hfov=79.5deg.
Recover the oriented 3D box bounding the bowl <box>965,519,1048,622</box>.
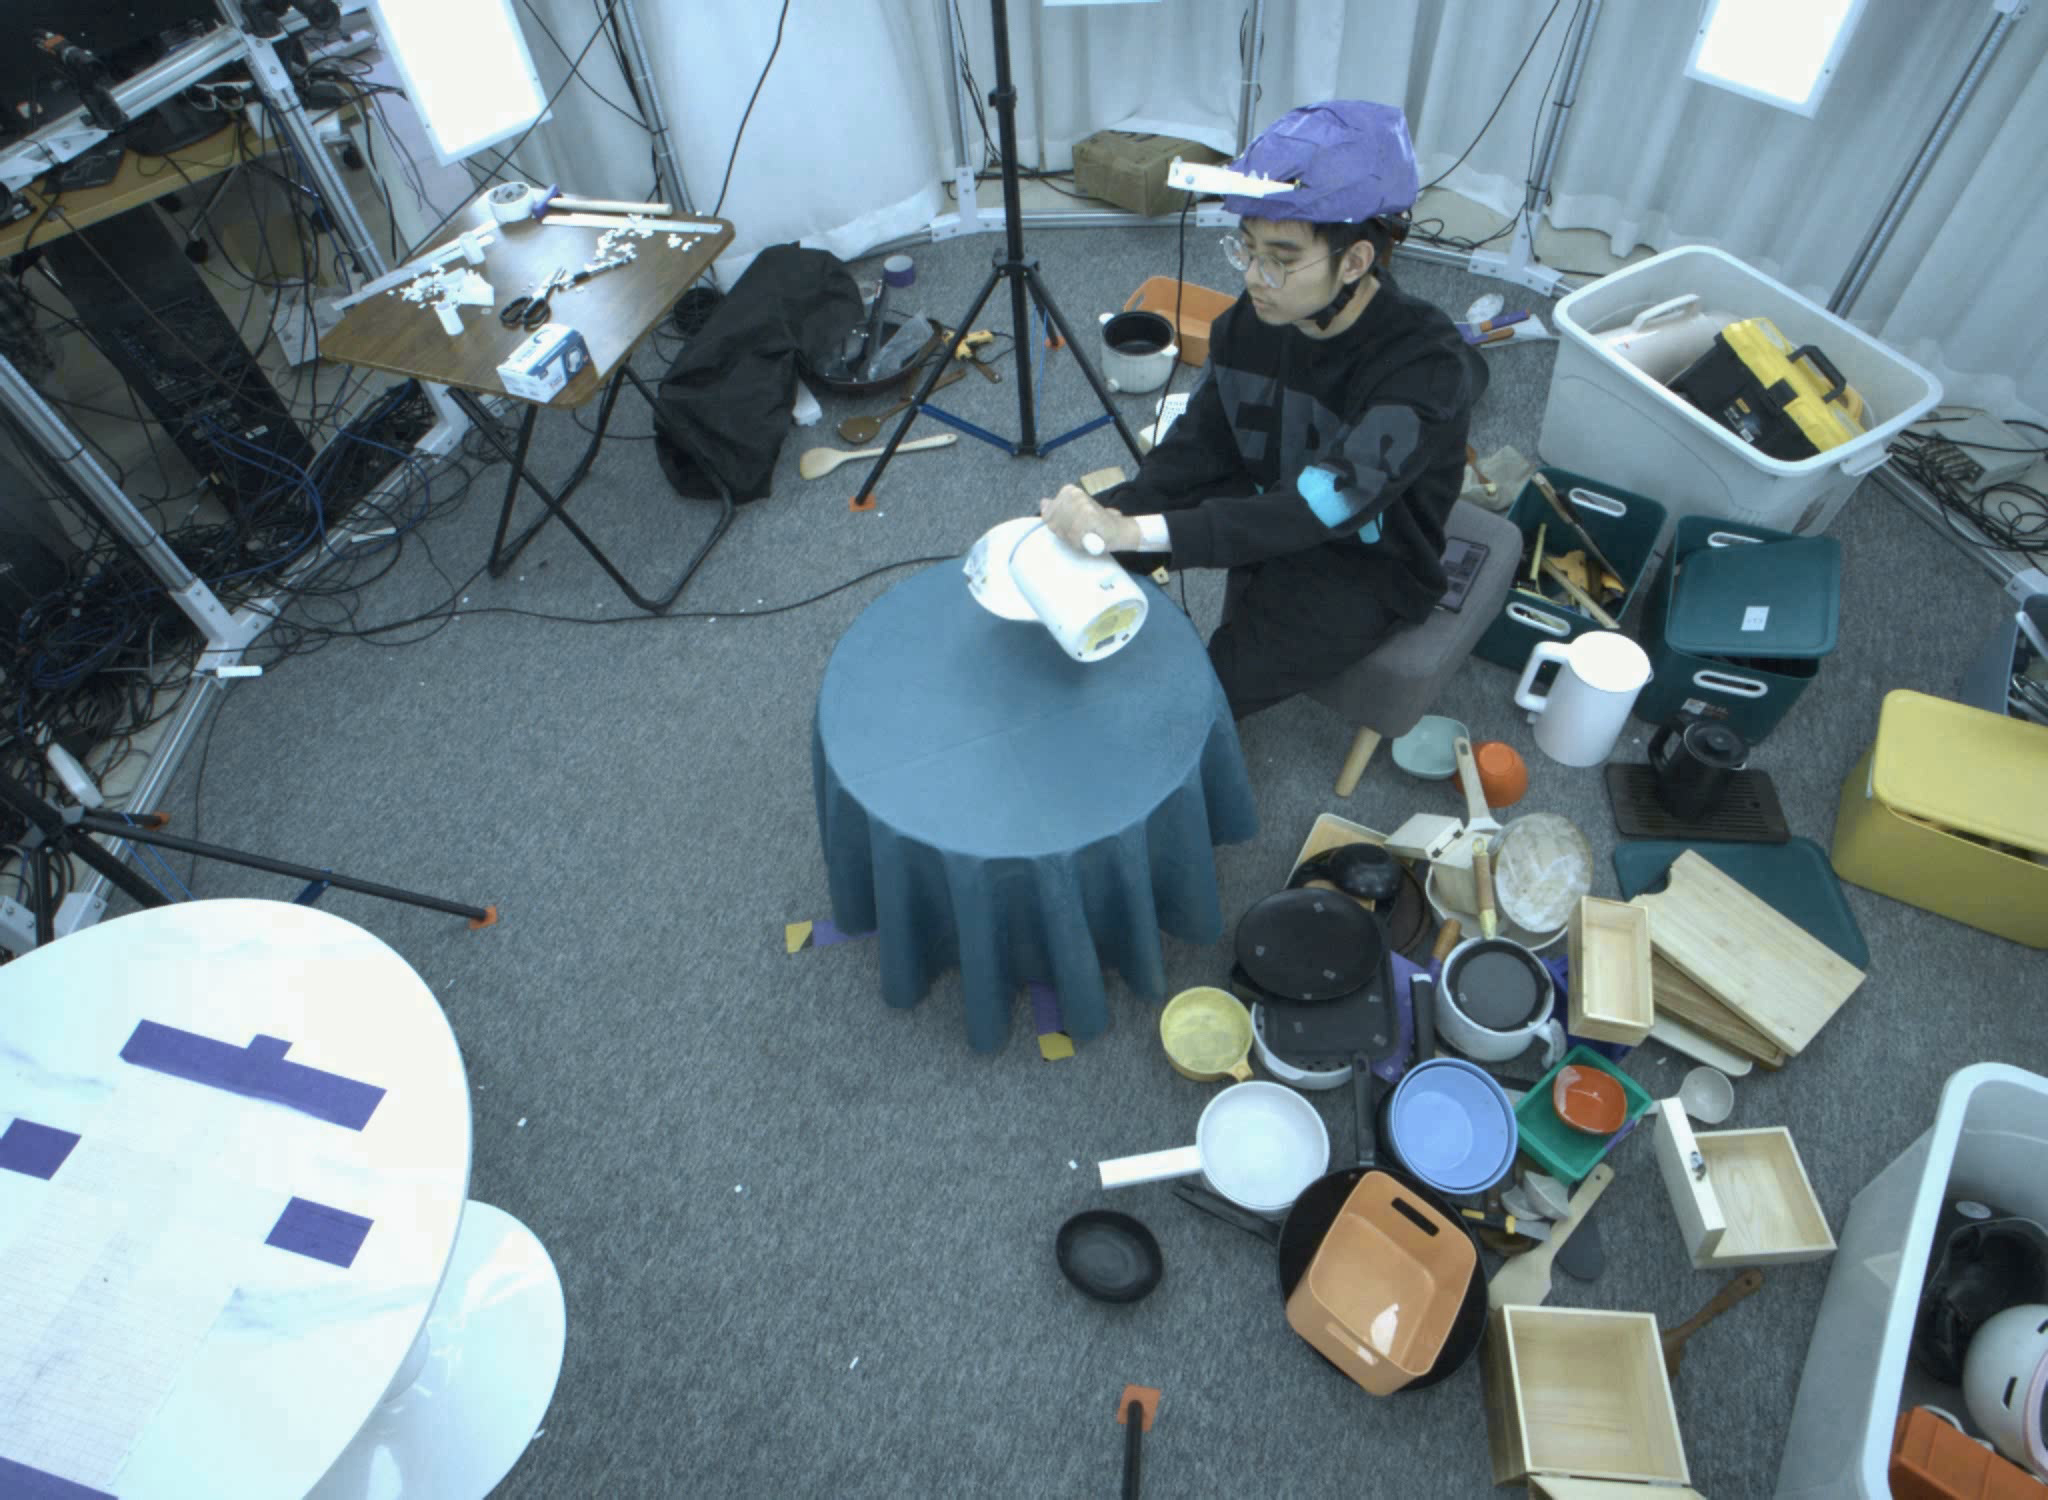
[{"bbox_3d":[0.012,-0.251,1.859,0.204,0.078,0.202,2,57,-2],"label":"bowl"}]

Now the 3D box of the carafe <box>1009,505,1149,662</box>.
[{"bbox_3d":[0.076,-0.237,1.664,0.133,0.192,0.180,-26,66,-23],"label":"carafe"}]
